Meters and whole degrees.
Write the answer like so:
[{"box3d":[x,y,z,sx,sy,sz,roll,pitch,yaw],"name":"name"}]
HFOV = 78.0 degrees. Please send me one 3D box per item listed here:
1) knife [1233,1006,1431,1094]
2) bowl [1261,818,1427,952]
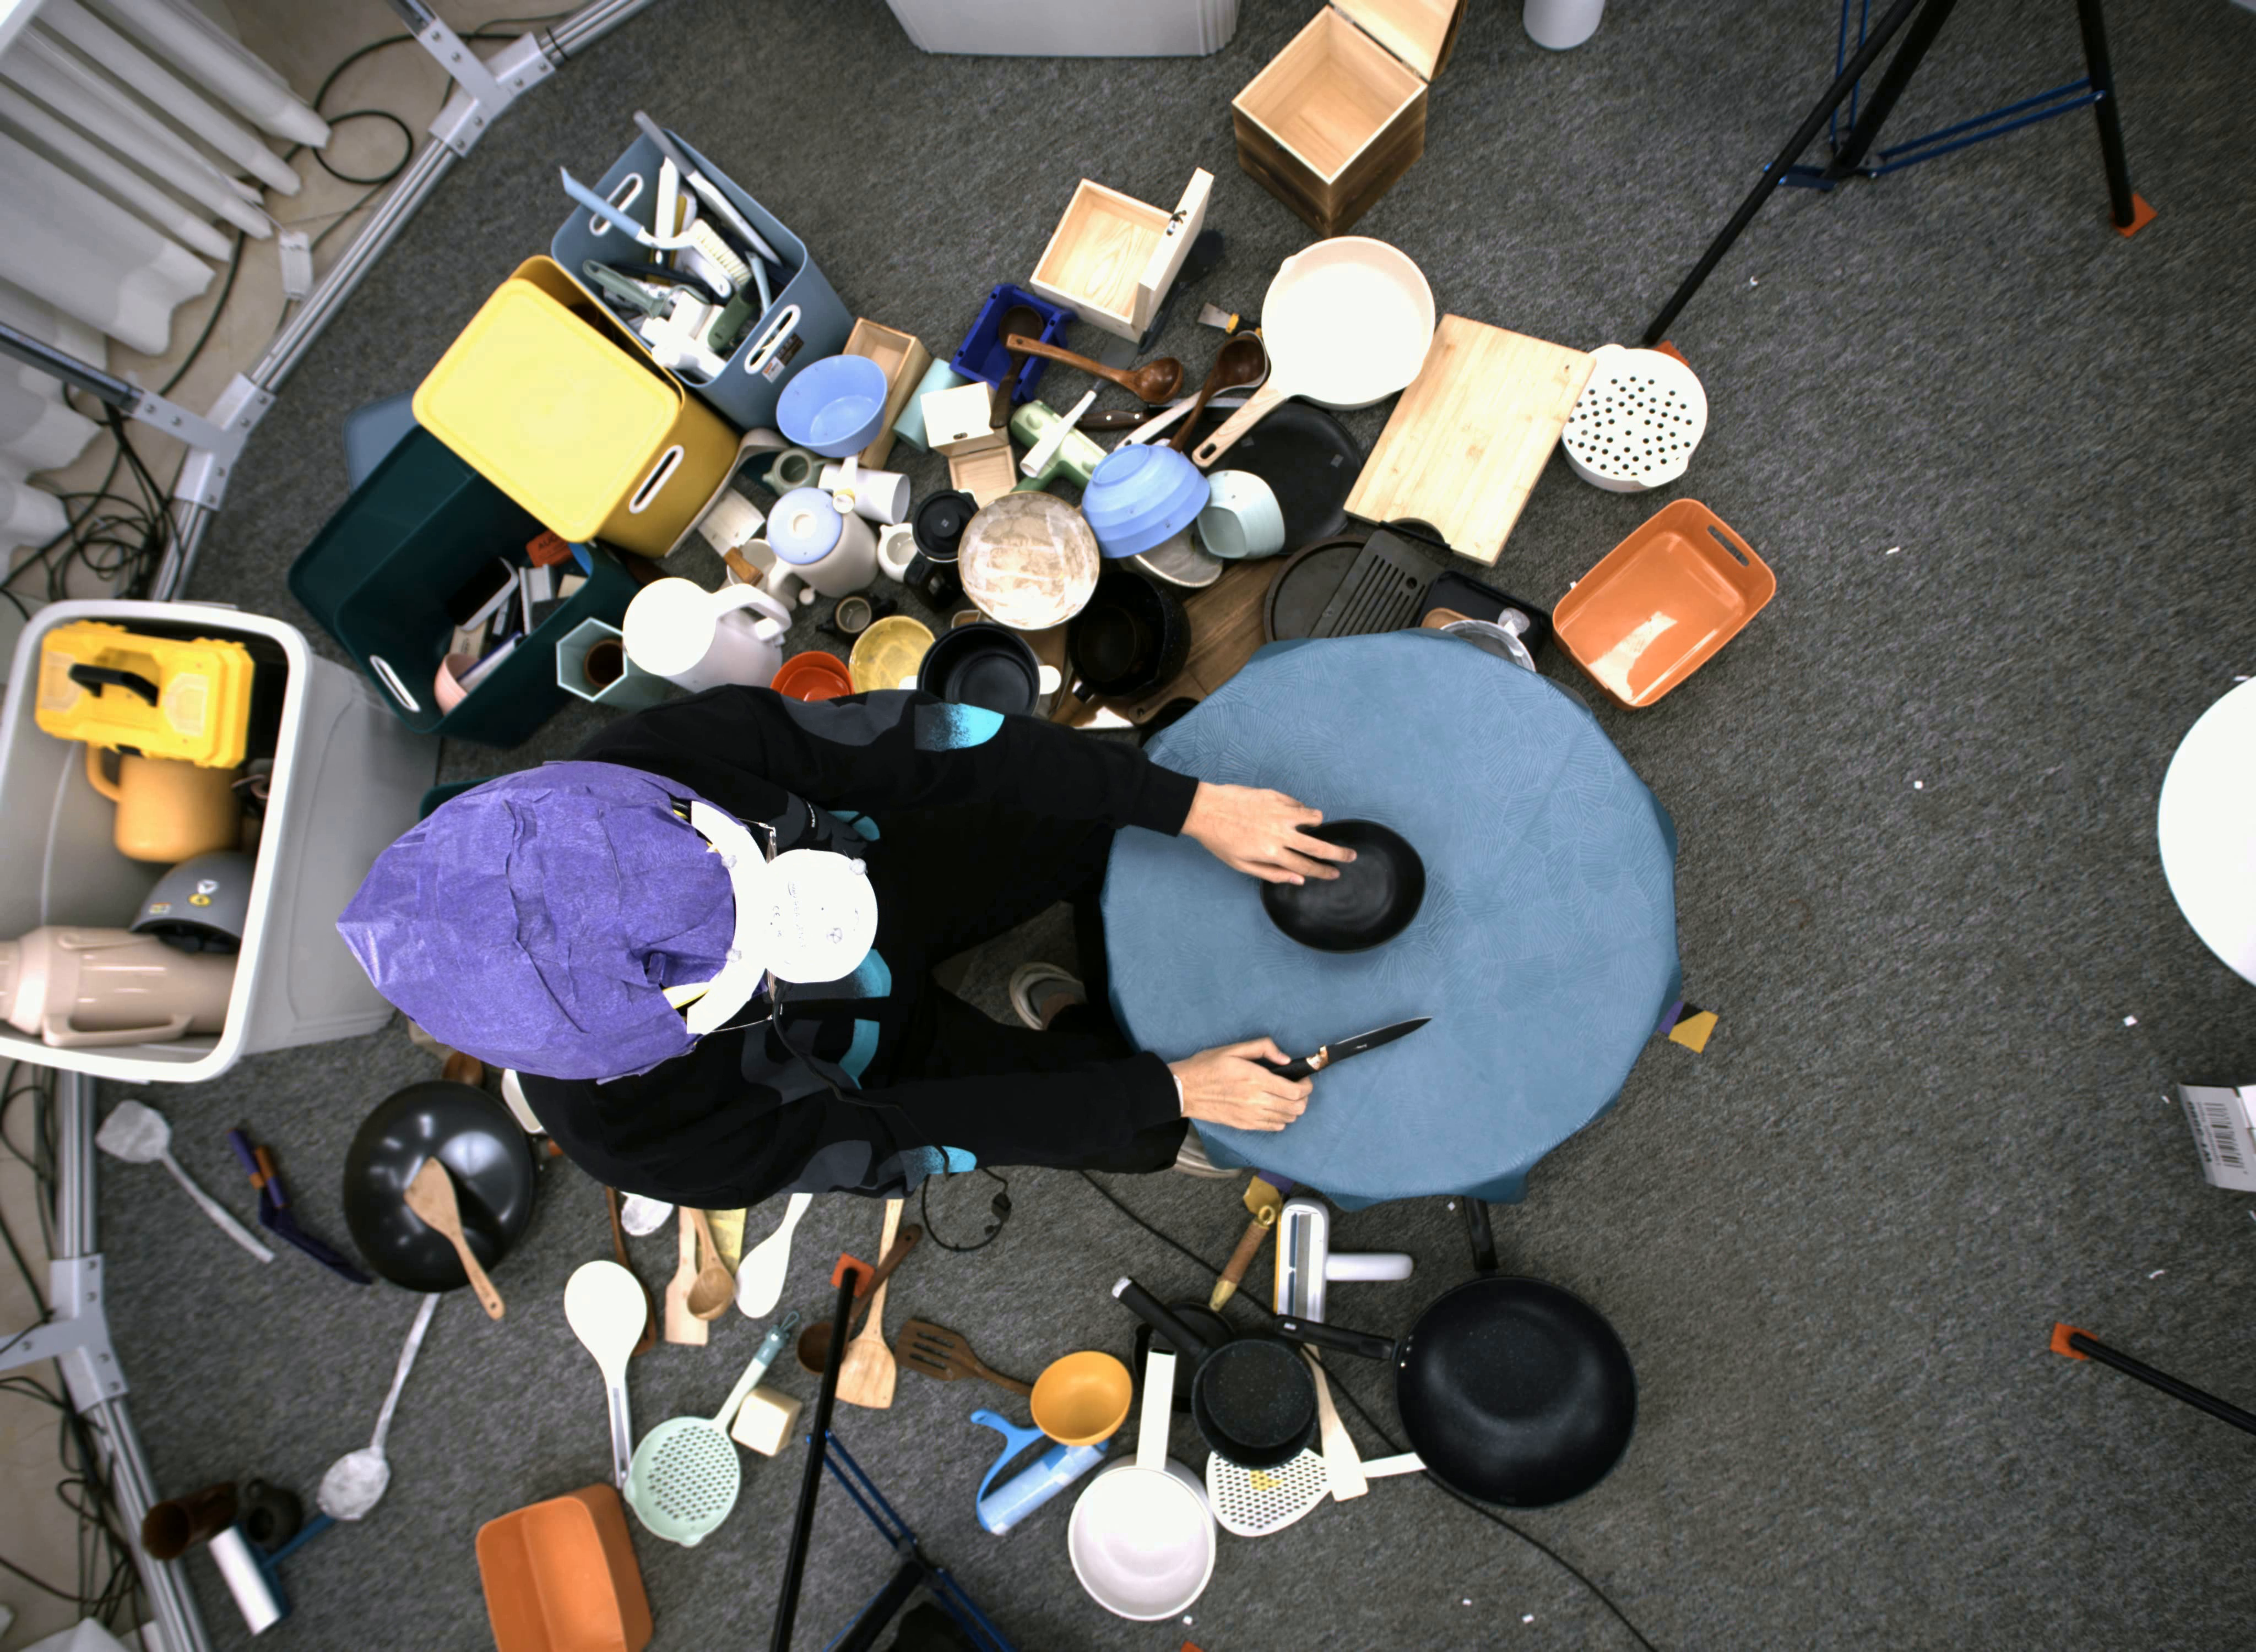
[{"box3d":[0.210,0.232,1.437,0.227,0.017,0.026,-24,121,14],"name":"knife"},{"box3d":[0.225,0.063,1.436,0.171,0.067,0.136,-9,84,12],"name":"bowl"}]
